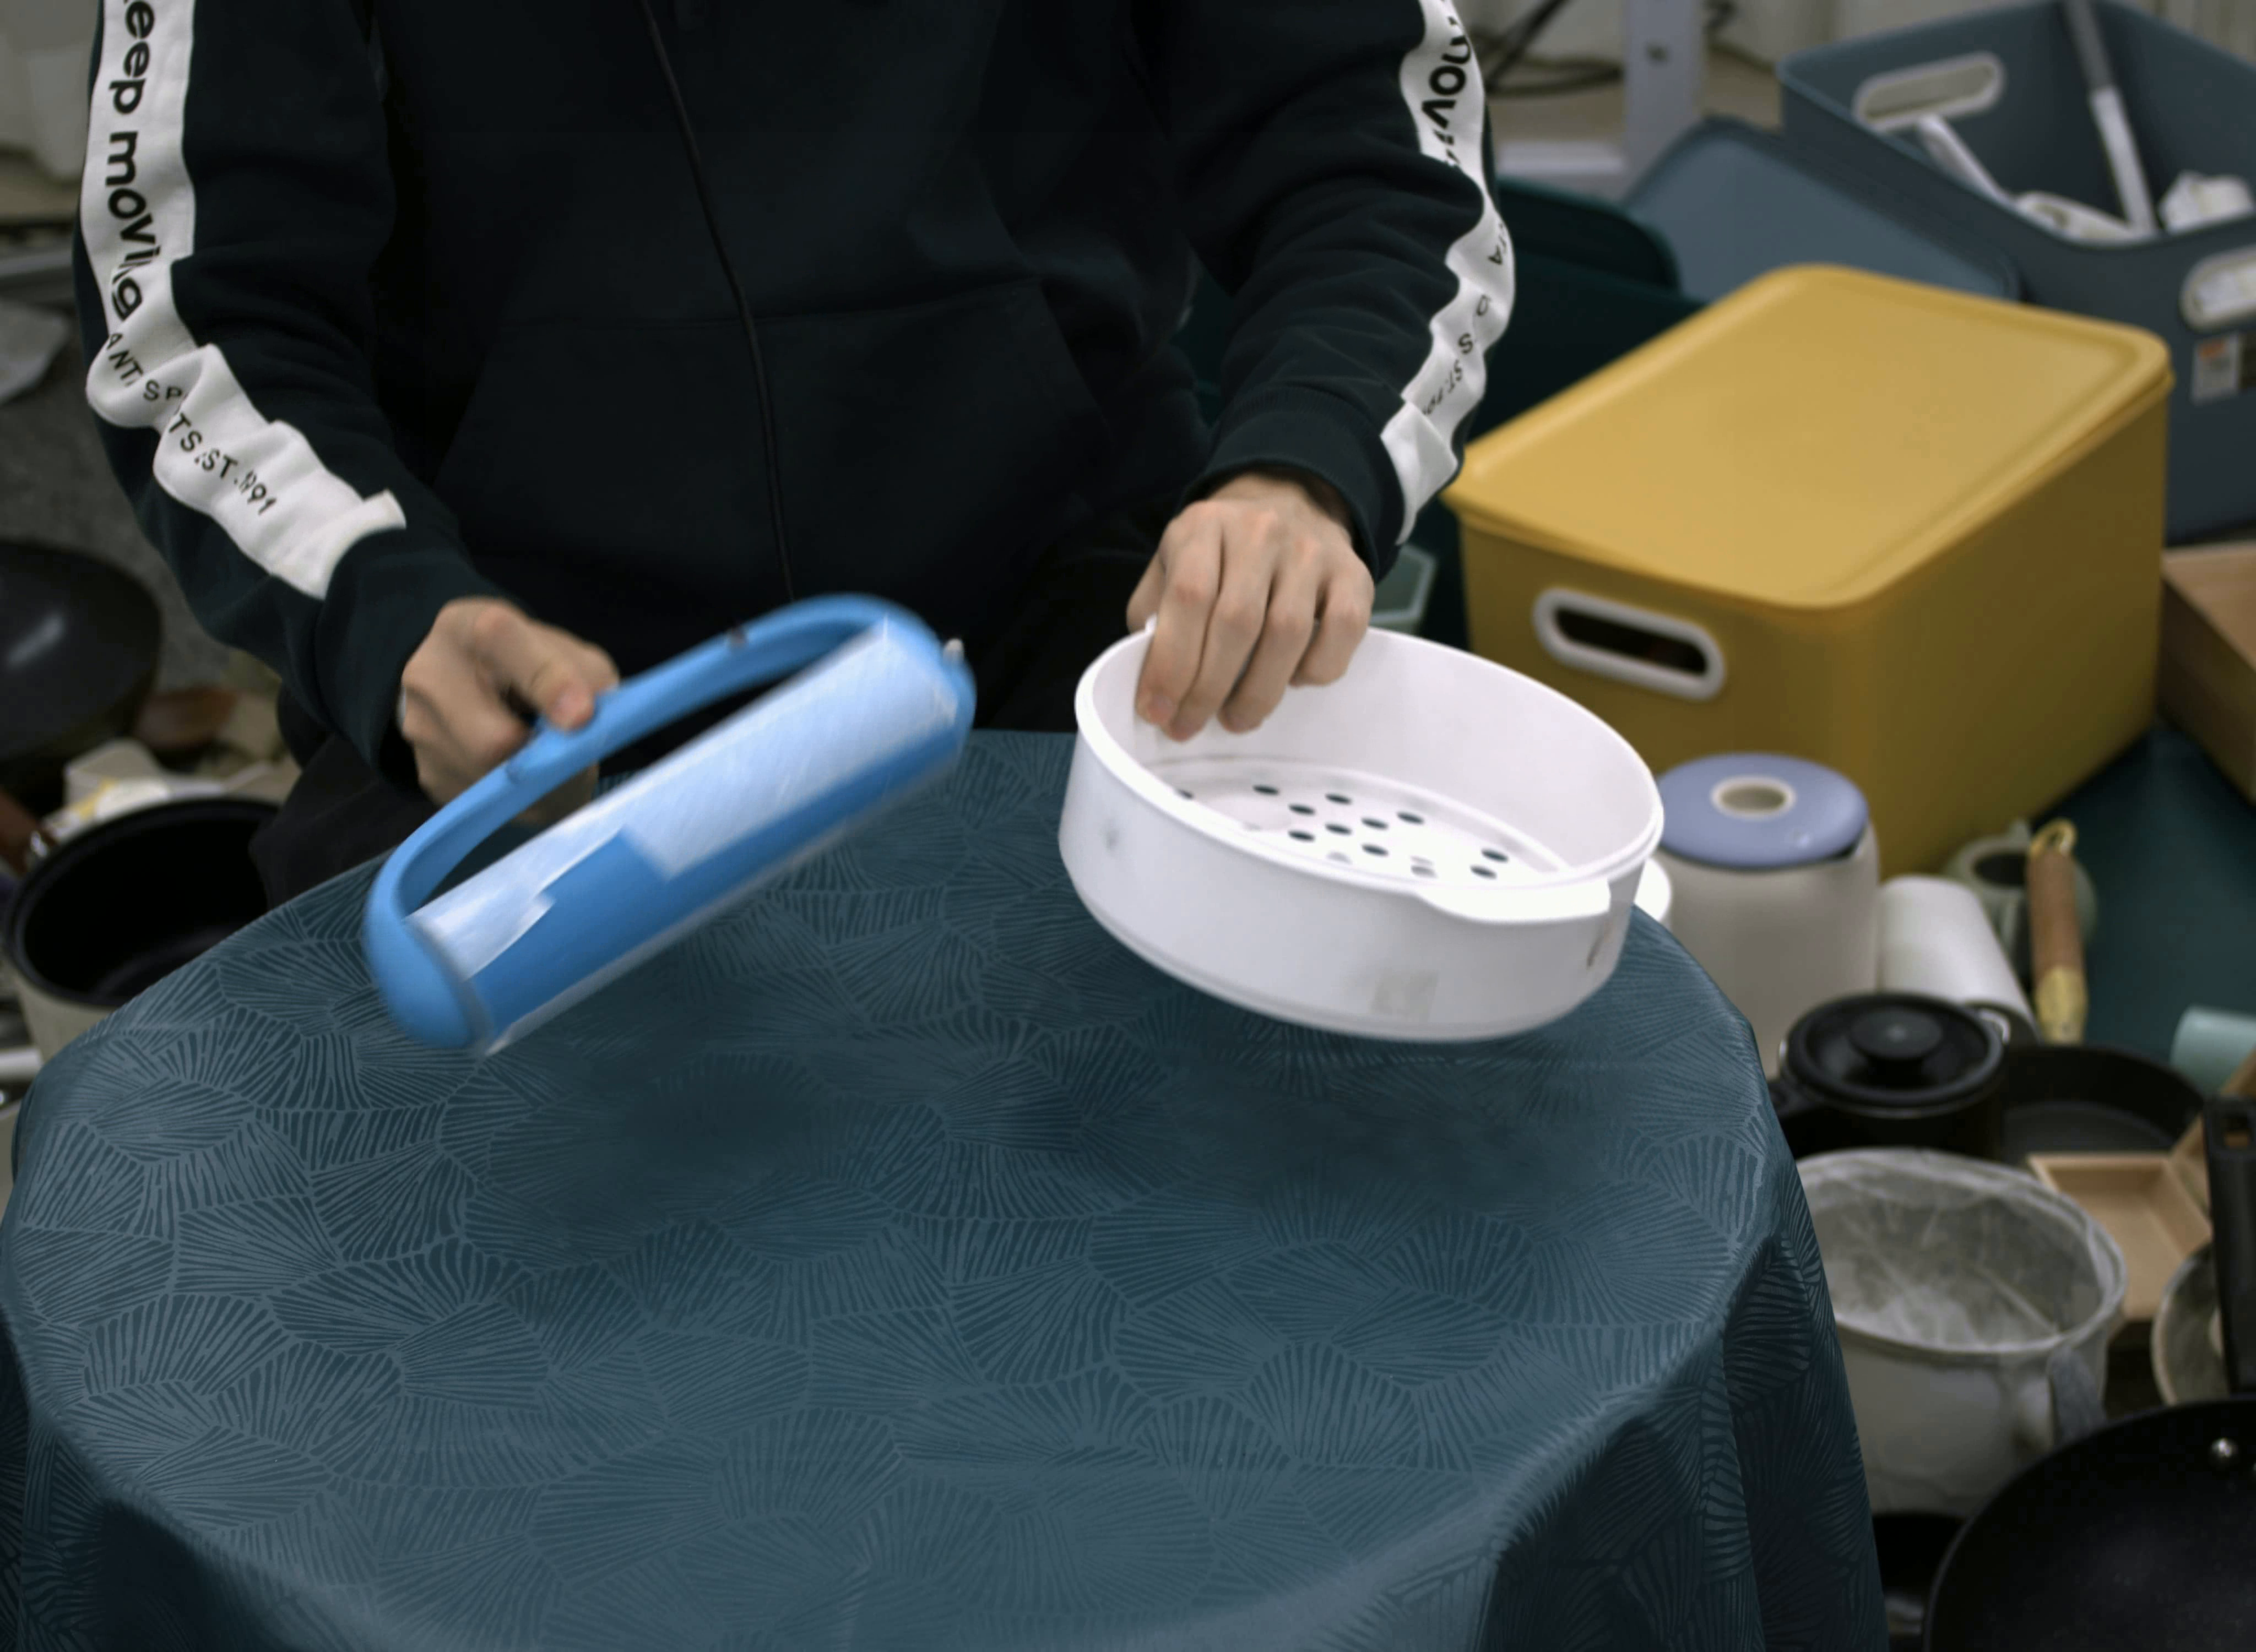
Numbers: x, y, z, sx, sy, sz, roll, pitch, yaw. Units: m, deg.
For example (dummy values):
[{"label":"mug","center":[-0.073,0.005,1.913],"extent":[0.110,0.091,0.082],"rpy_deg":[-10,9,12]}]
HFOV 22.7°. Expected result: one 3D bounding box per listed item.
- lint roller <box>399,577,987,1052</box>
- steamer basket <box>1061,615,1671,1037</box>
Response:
[{"label":"lint roller","center":[-0.174,-0.013,1.899],"extent":[0.232,0.067,0.179],"rpy_deg":[-39,31,-25]},{"label":"steamer basket","center":[0.077,0.001,1.879],"extent":[0.202,0.068,0.232],"rpy_deg":[-1,26,-30]}]
